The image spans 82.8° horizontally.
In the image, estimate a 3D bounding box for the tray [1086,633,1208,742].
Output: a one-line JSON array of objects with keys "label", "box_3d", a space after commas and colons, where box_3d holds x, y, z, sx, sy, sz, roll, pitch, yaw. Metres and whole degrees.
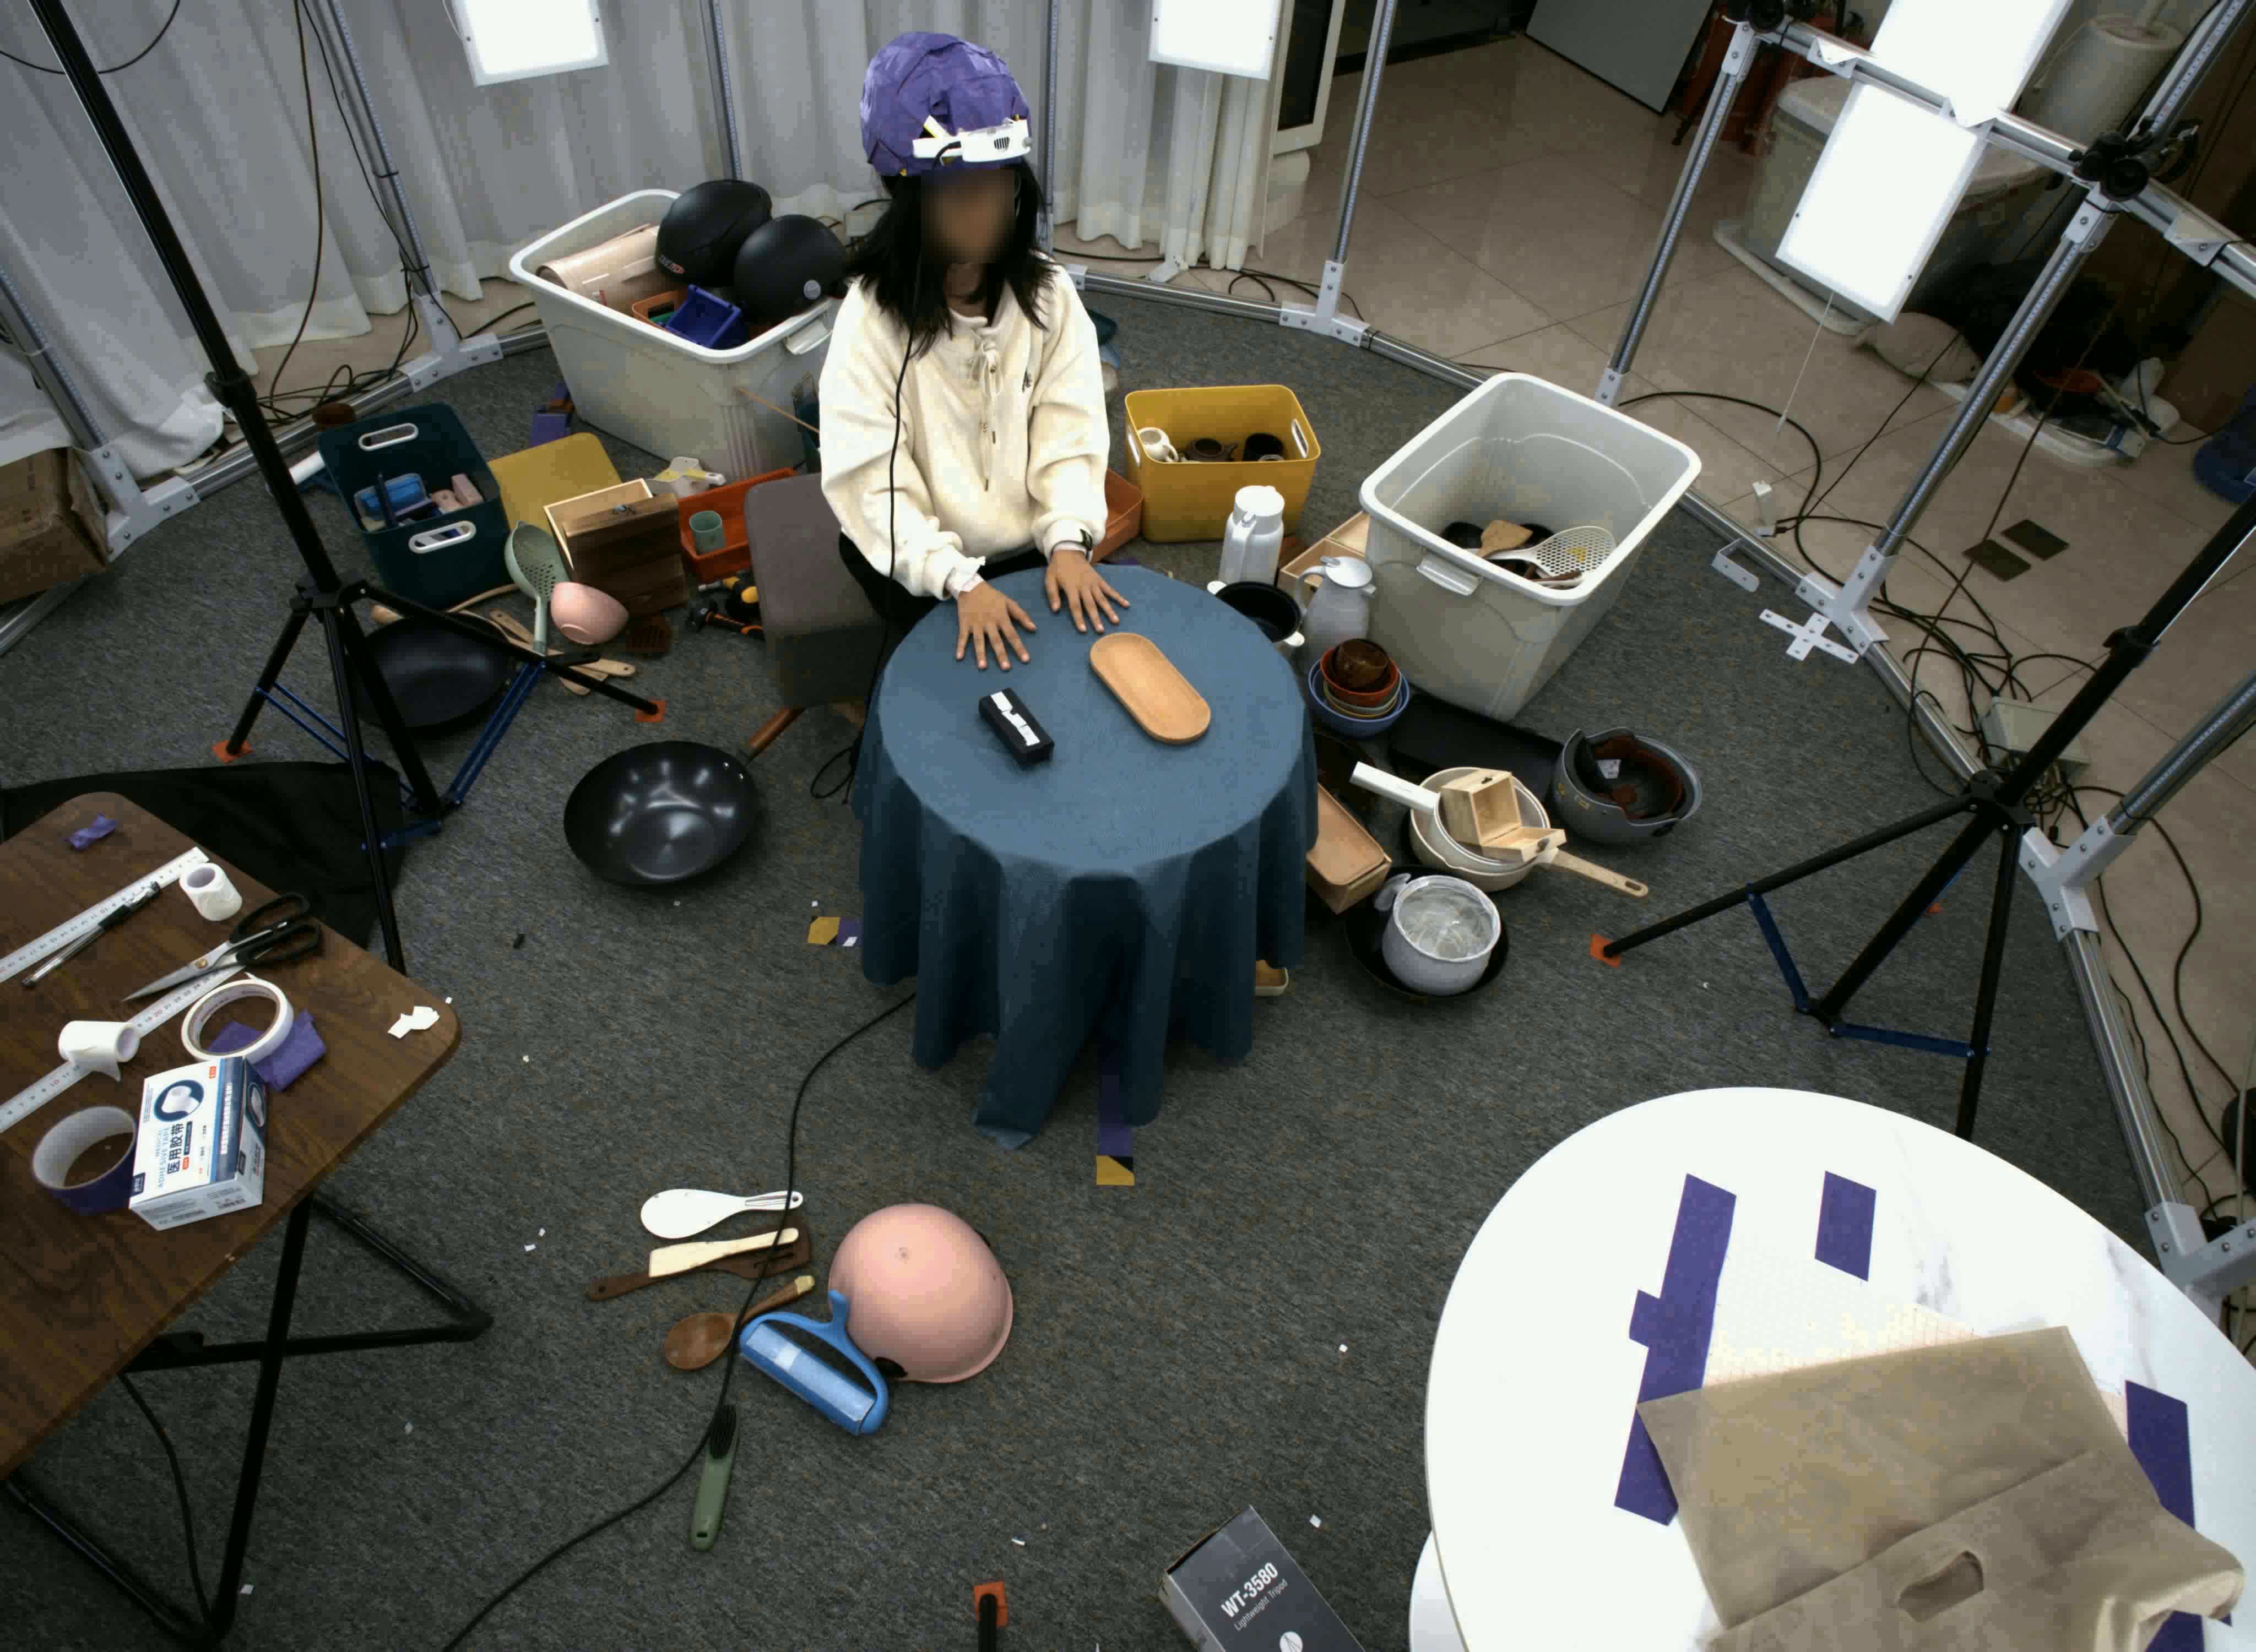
[{"label": "tray", "box_3d": [0.026, -0.200, 1.835, 0.102, 0.020, 0.236, -24, 53, -23]}]

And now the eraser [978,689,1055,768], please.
[{"label": "eraser", "box_3d": [-0.153, -0.135, 1.758, 0.053, 0.030, 0.128, -20, 54, -27]}]
